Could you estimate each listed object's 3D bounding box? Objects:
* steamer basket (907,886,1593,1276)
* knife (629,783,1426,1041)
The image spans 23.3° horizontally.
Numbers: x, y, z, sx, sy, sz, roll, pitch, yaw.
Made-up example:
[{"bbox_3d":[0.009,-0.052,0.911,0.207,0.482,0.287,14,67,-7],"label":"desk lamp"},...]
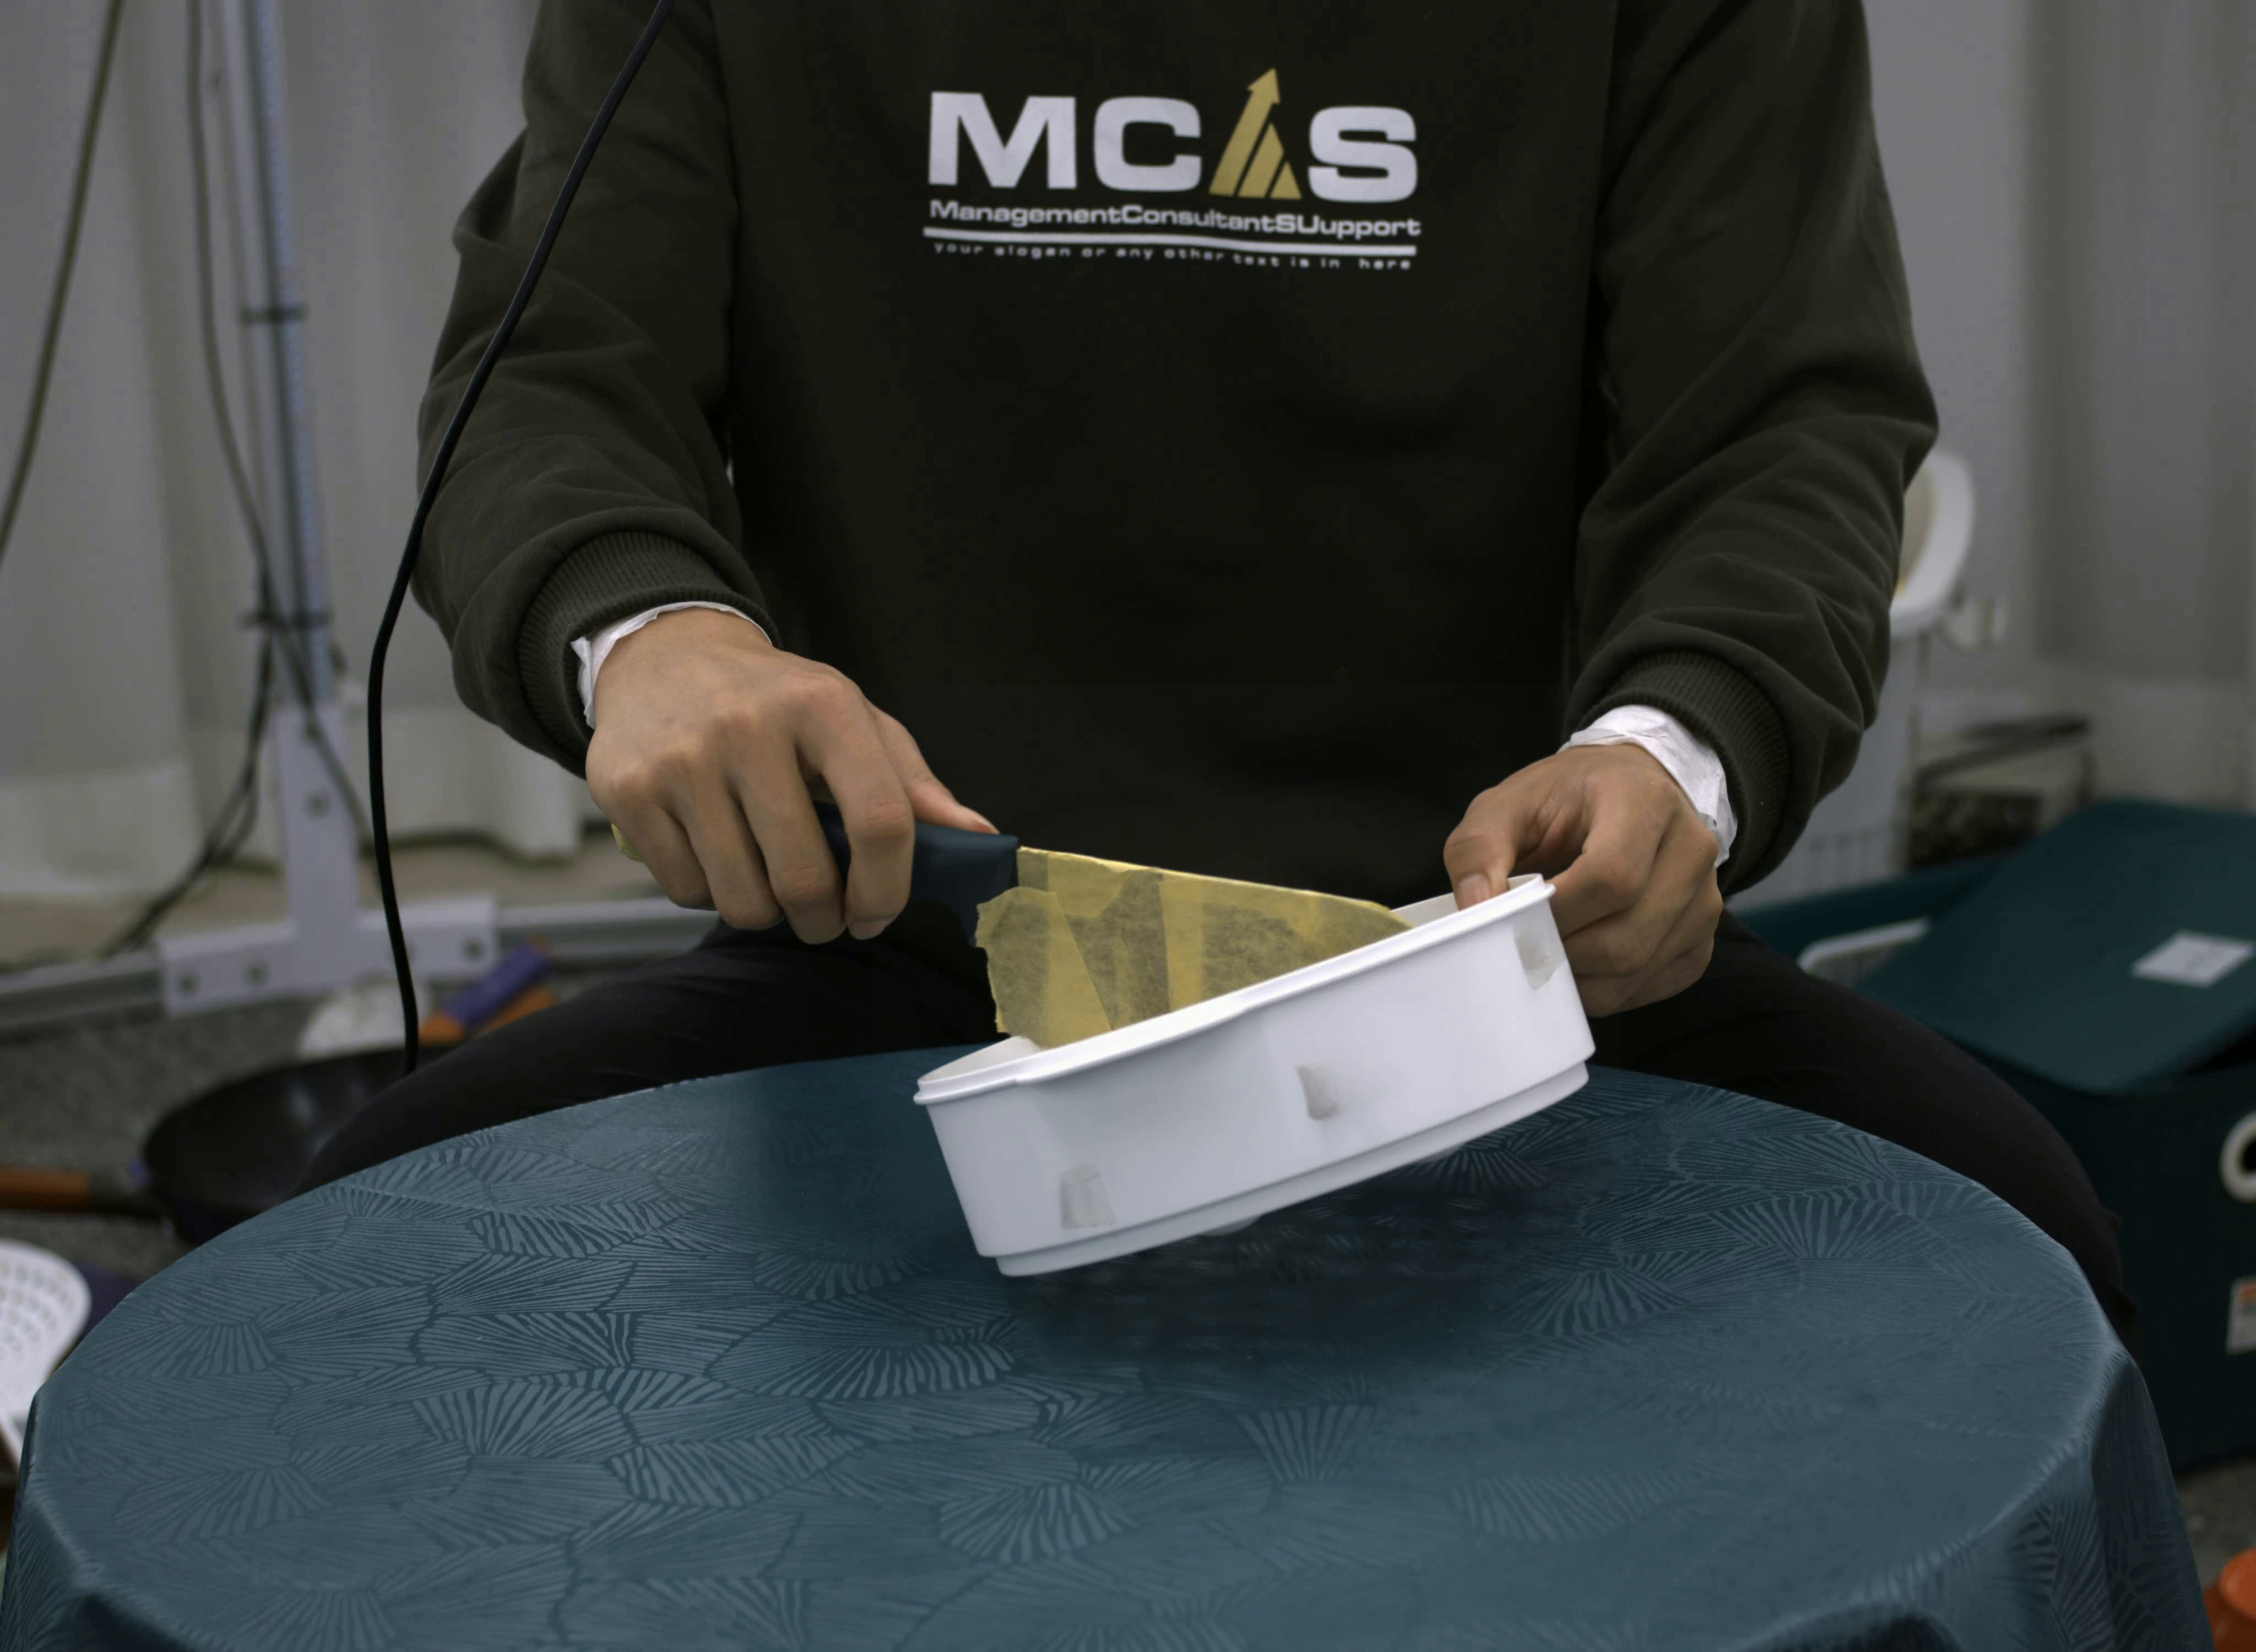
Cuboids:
[{"bbox_3d":[0.039,0.078,1.619,0.201,0.069,0.230,-17,-1,21],"label":"steamer basket"},{"bbox_3d":[-0.019,0.033,1.642,0.290,0.080,0.027,12,35,21],"label":"knife"}]
